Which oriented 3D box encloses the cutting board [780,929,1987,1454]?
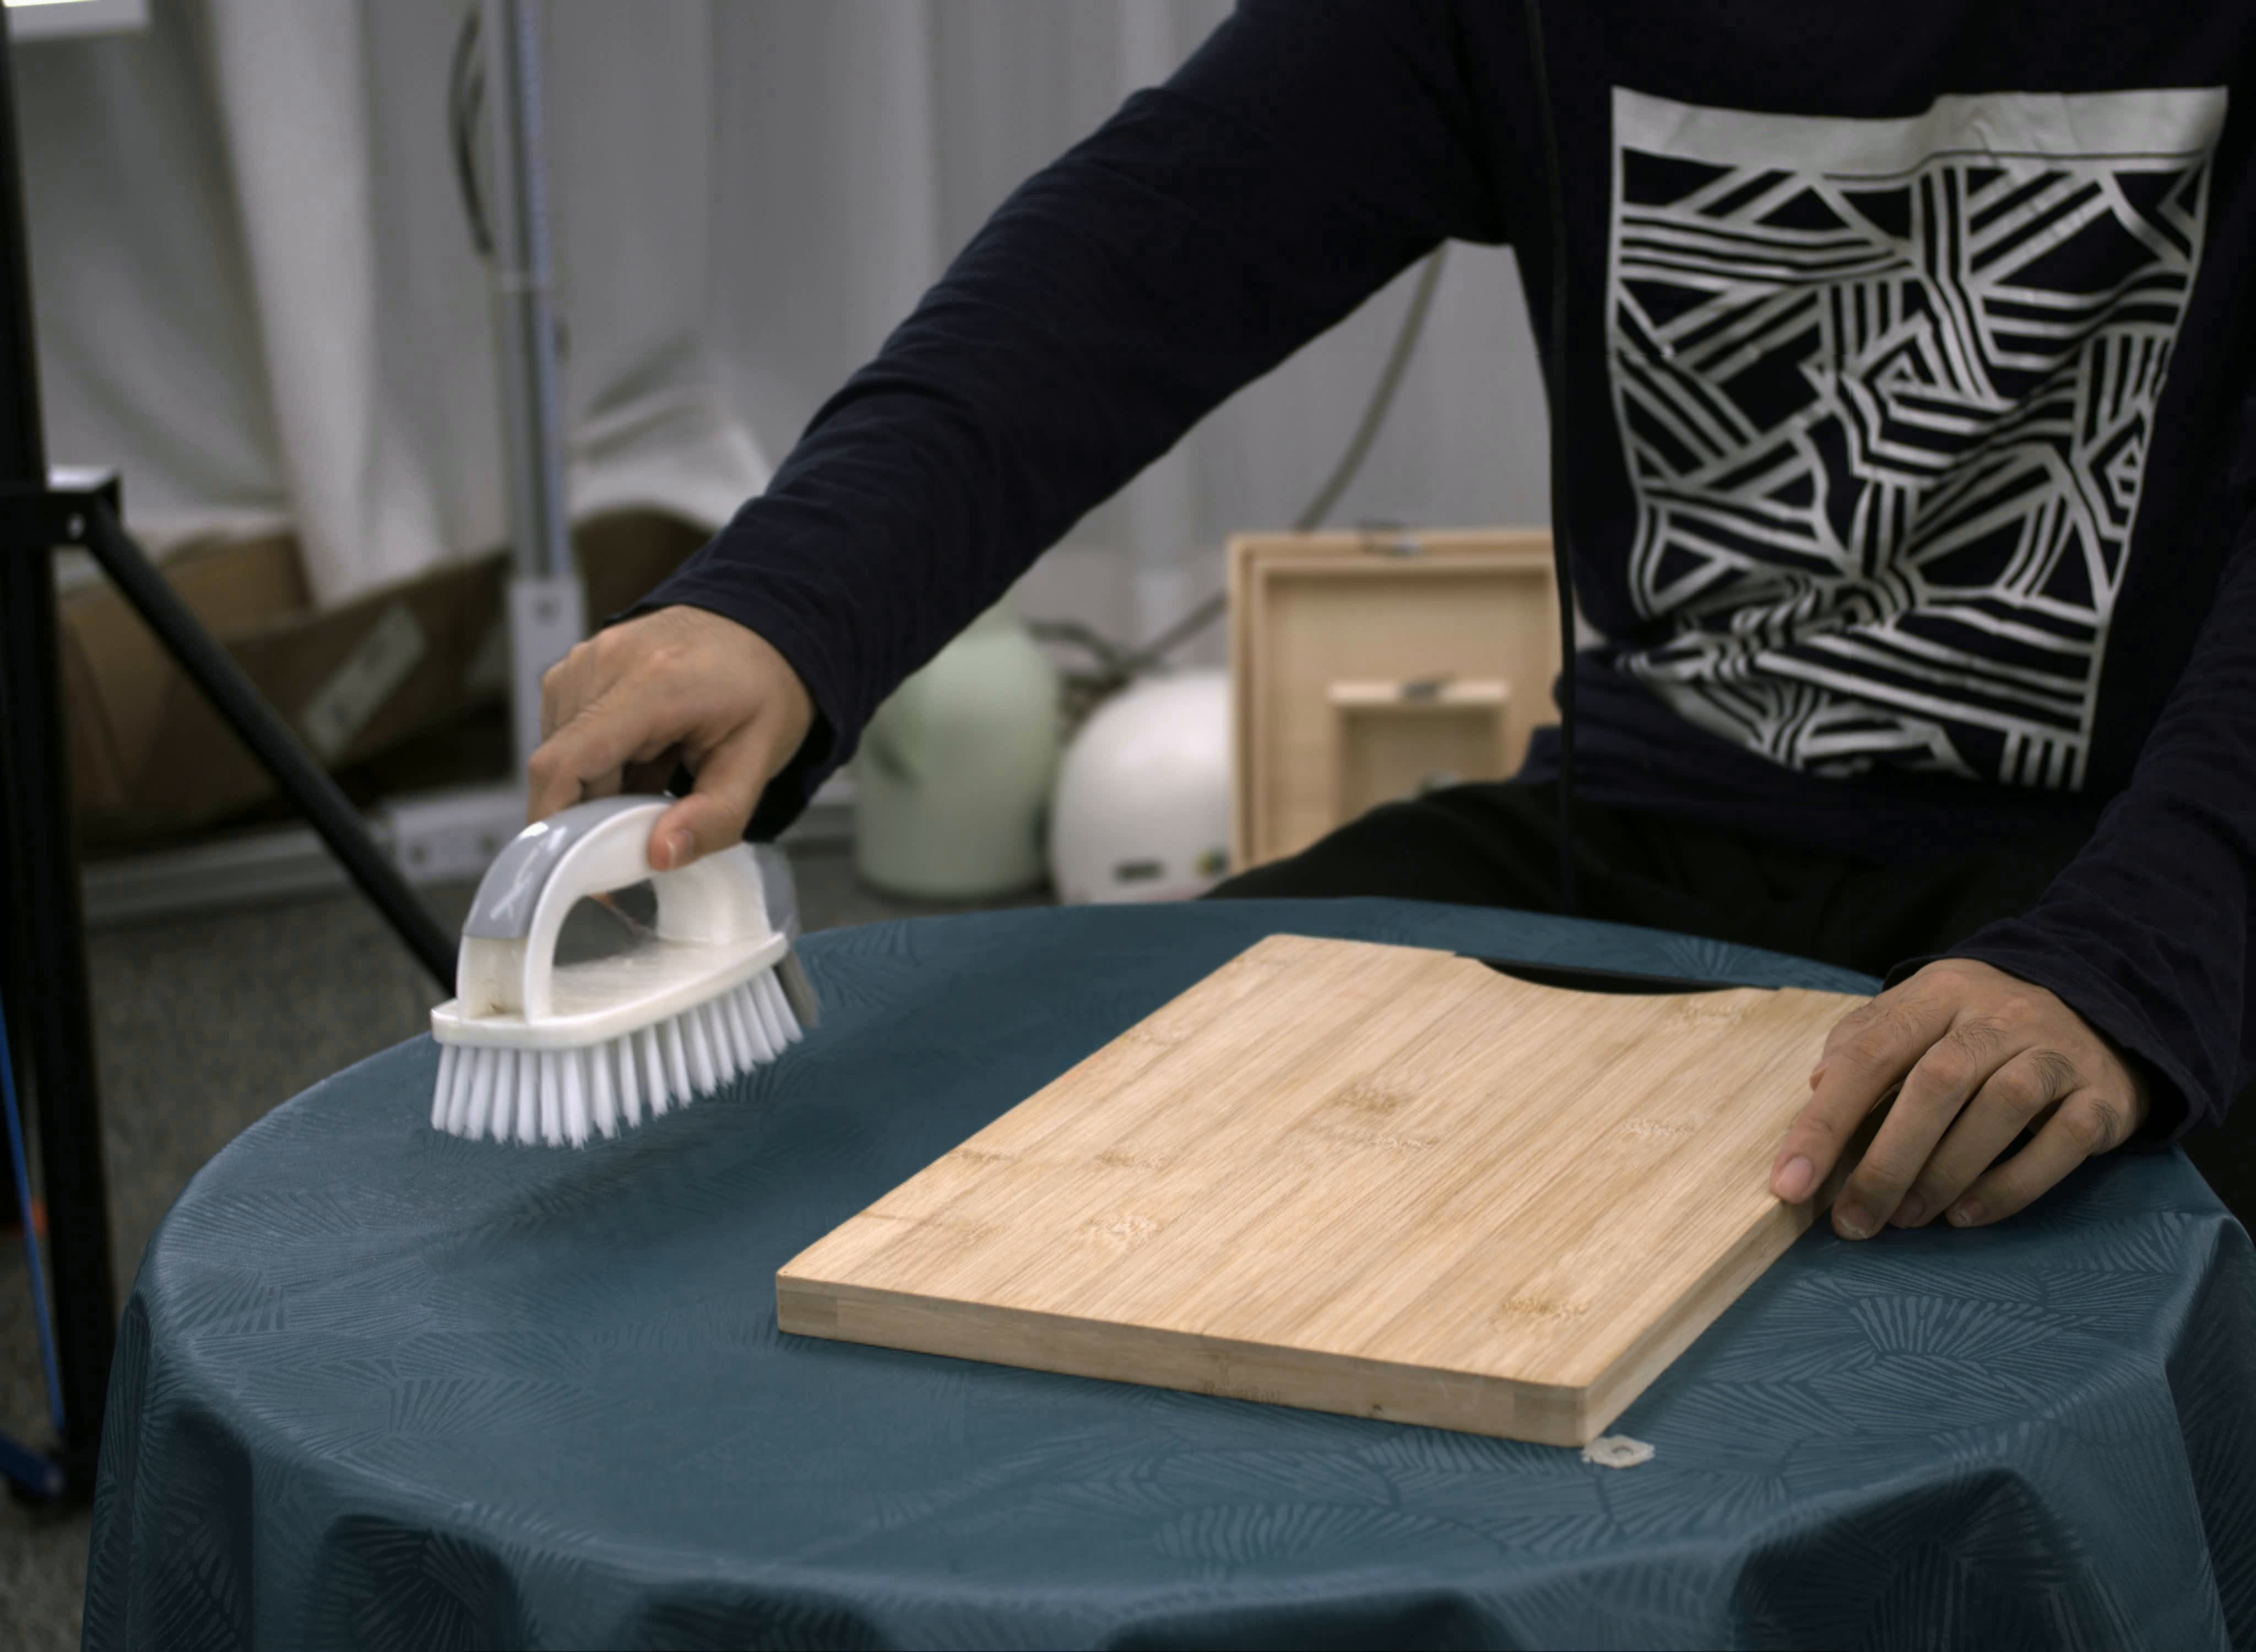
[{"bbox_3d":[0.085,0.098,1.554,0.254,0.023,0.343,6,17,25],"label":"cutting board"}]

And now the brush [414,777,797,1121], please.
[{"bbox_3d":[-0.148,0.030,1.602,0.062,0.094,0.172,2,9,28],"label":"brush"}]
